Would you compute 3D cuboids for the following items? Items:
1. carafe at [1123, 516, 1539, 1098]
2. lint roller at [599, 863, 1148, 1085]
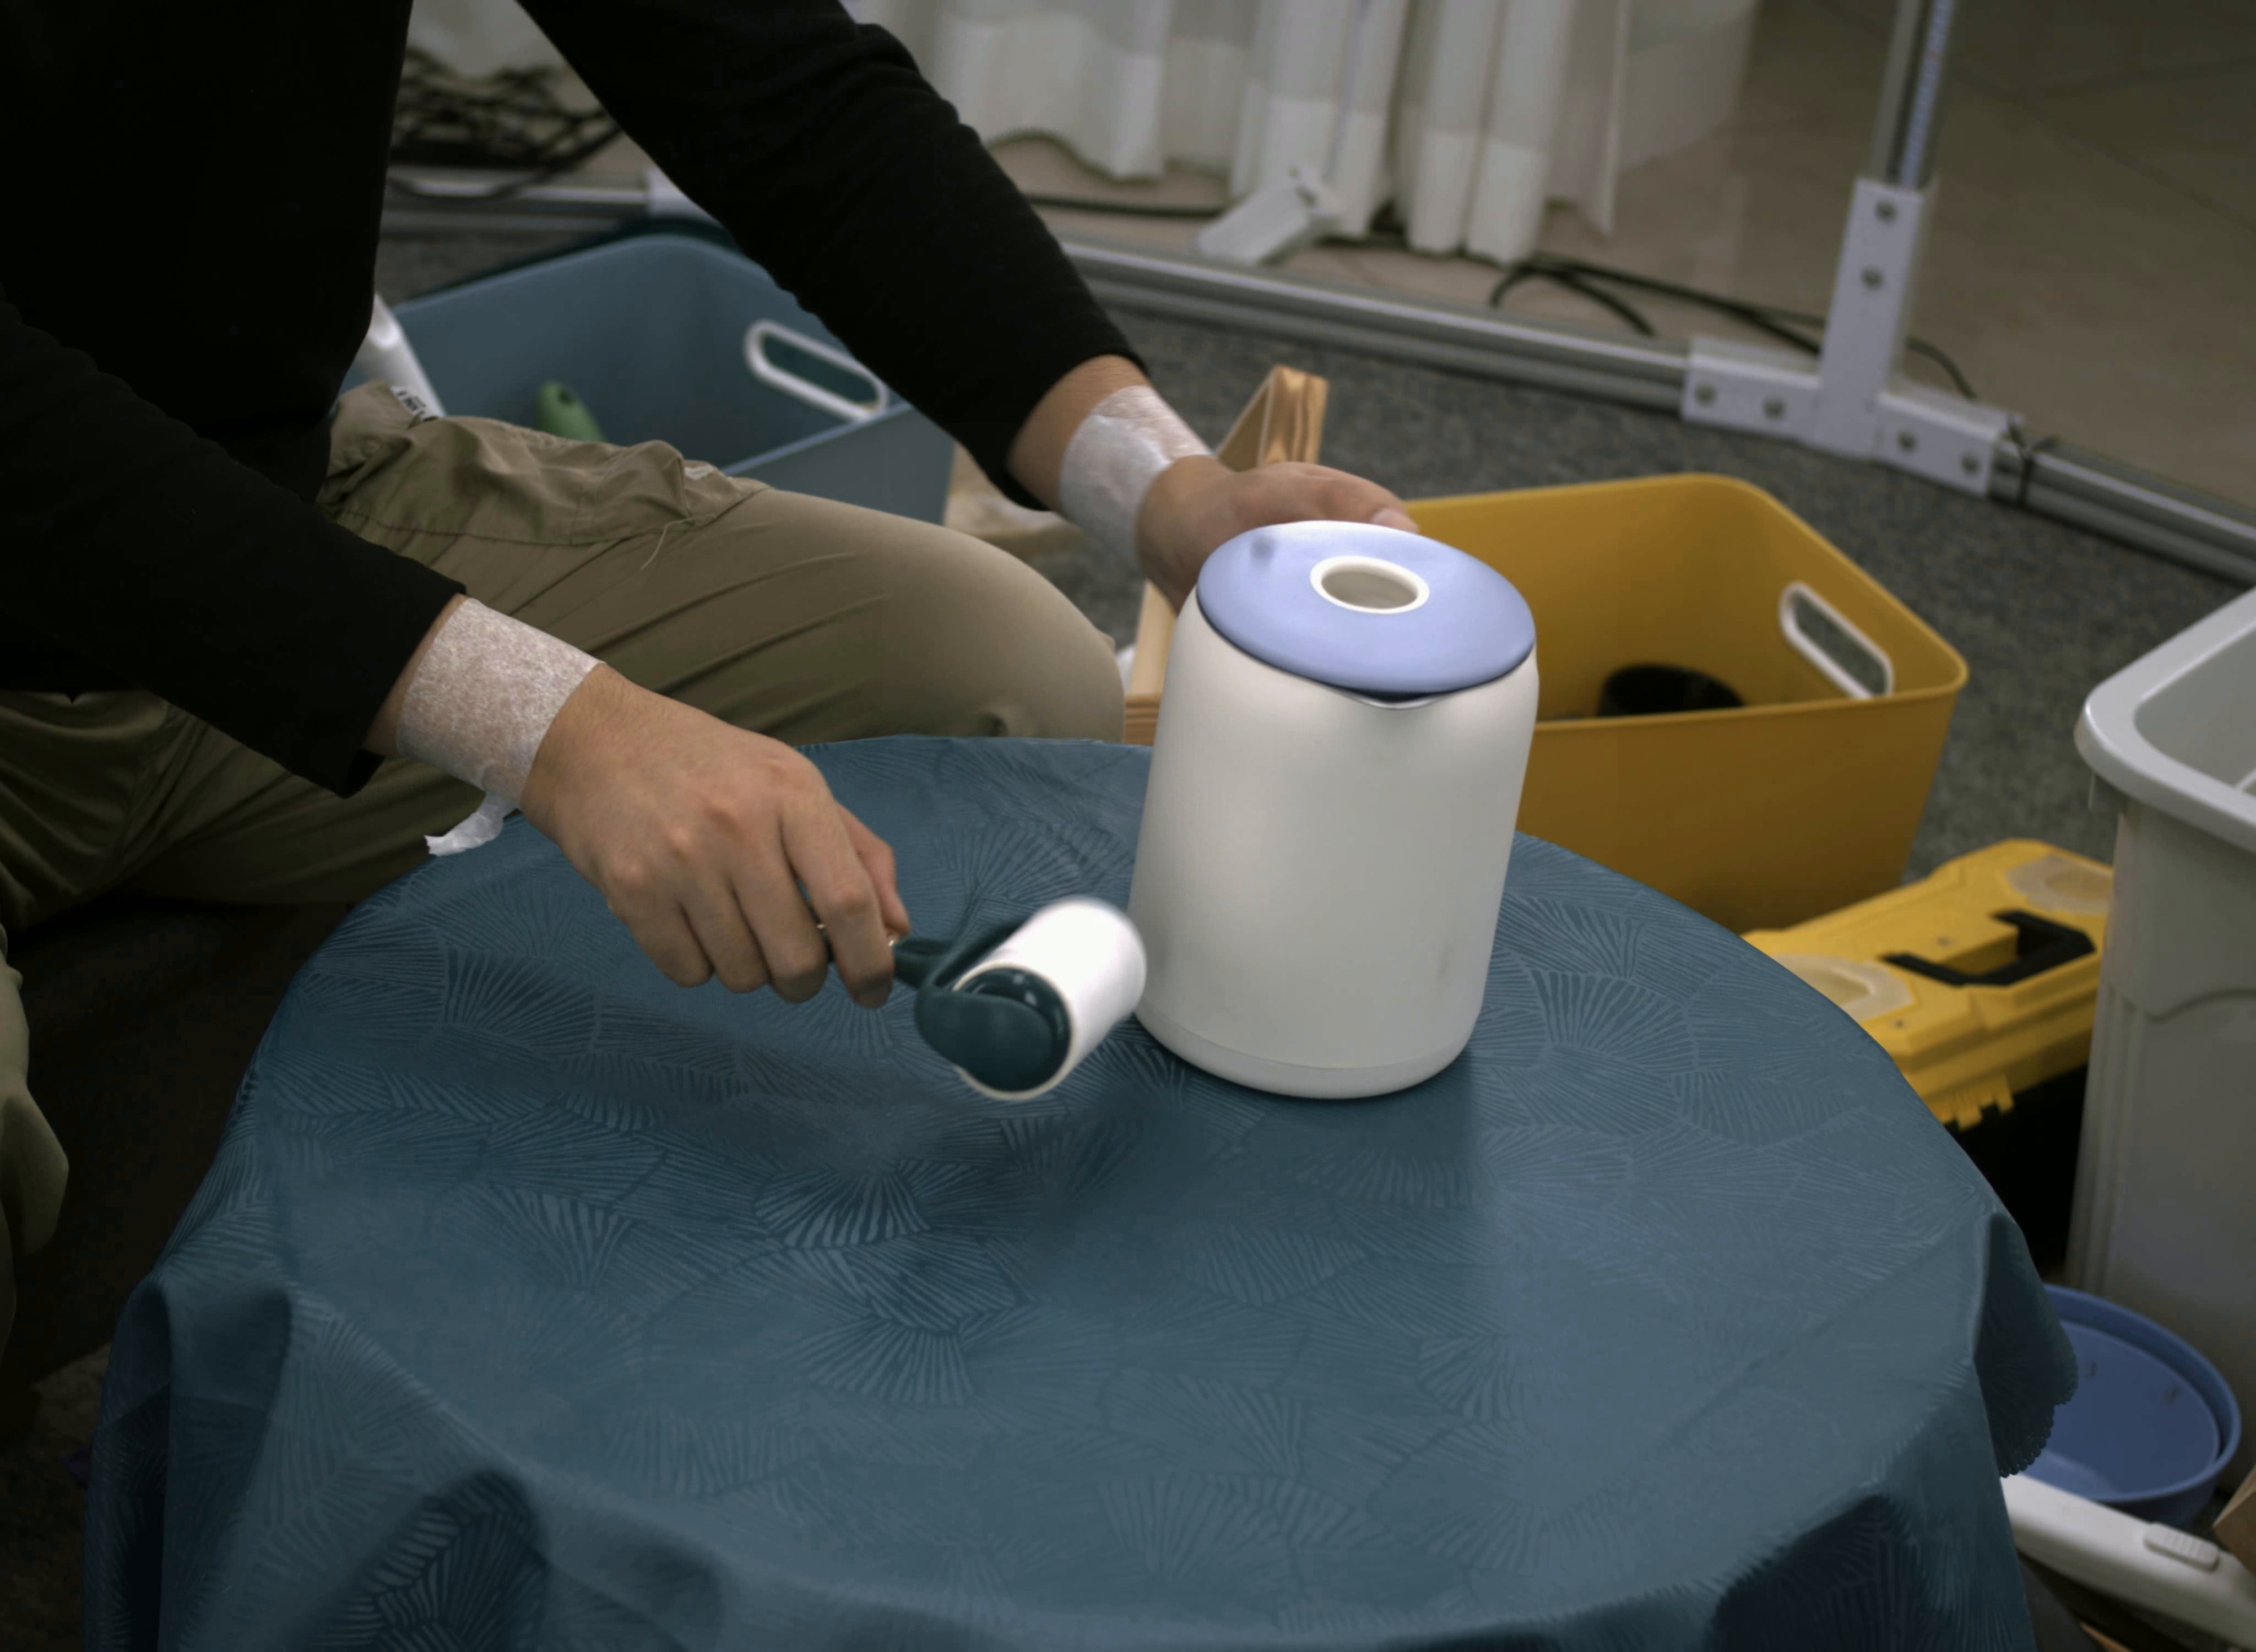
[{"bbox_3d":[0.069,-0.019,1.901,0.131,0.182,0.192,4,27,-9],"label":"carafe"},{"bbox_3d":[-0.091,0.036,1.796,0.180,0.048,0.134,11,19,11],"label":"lint roller"}]
